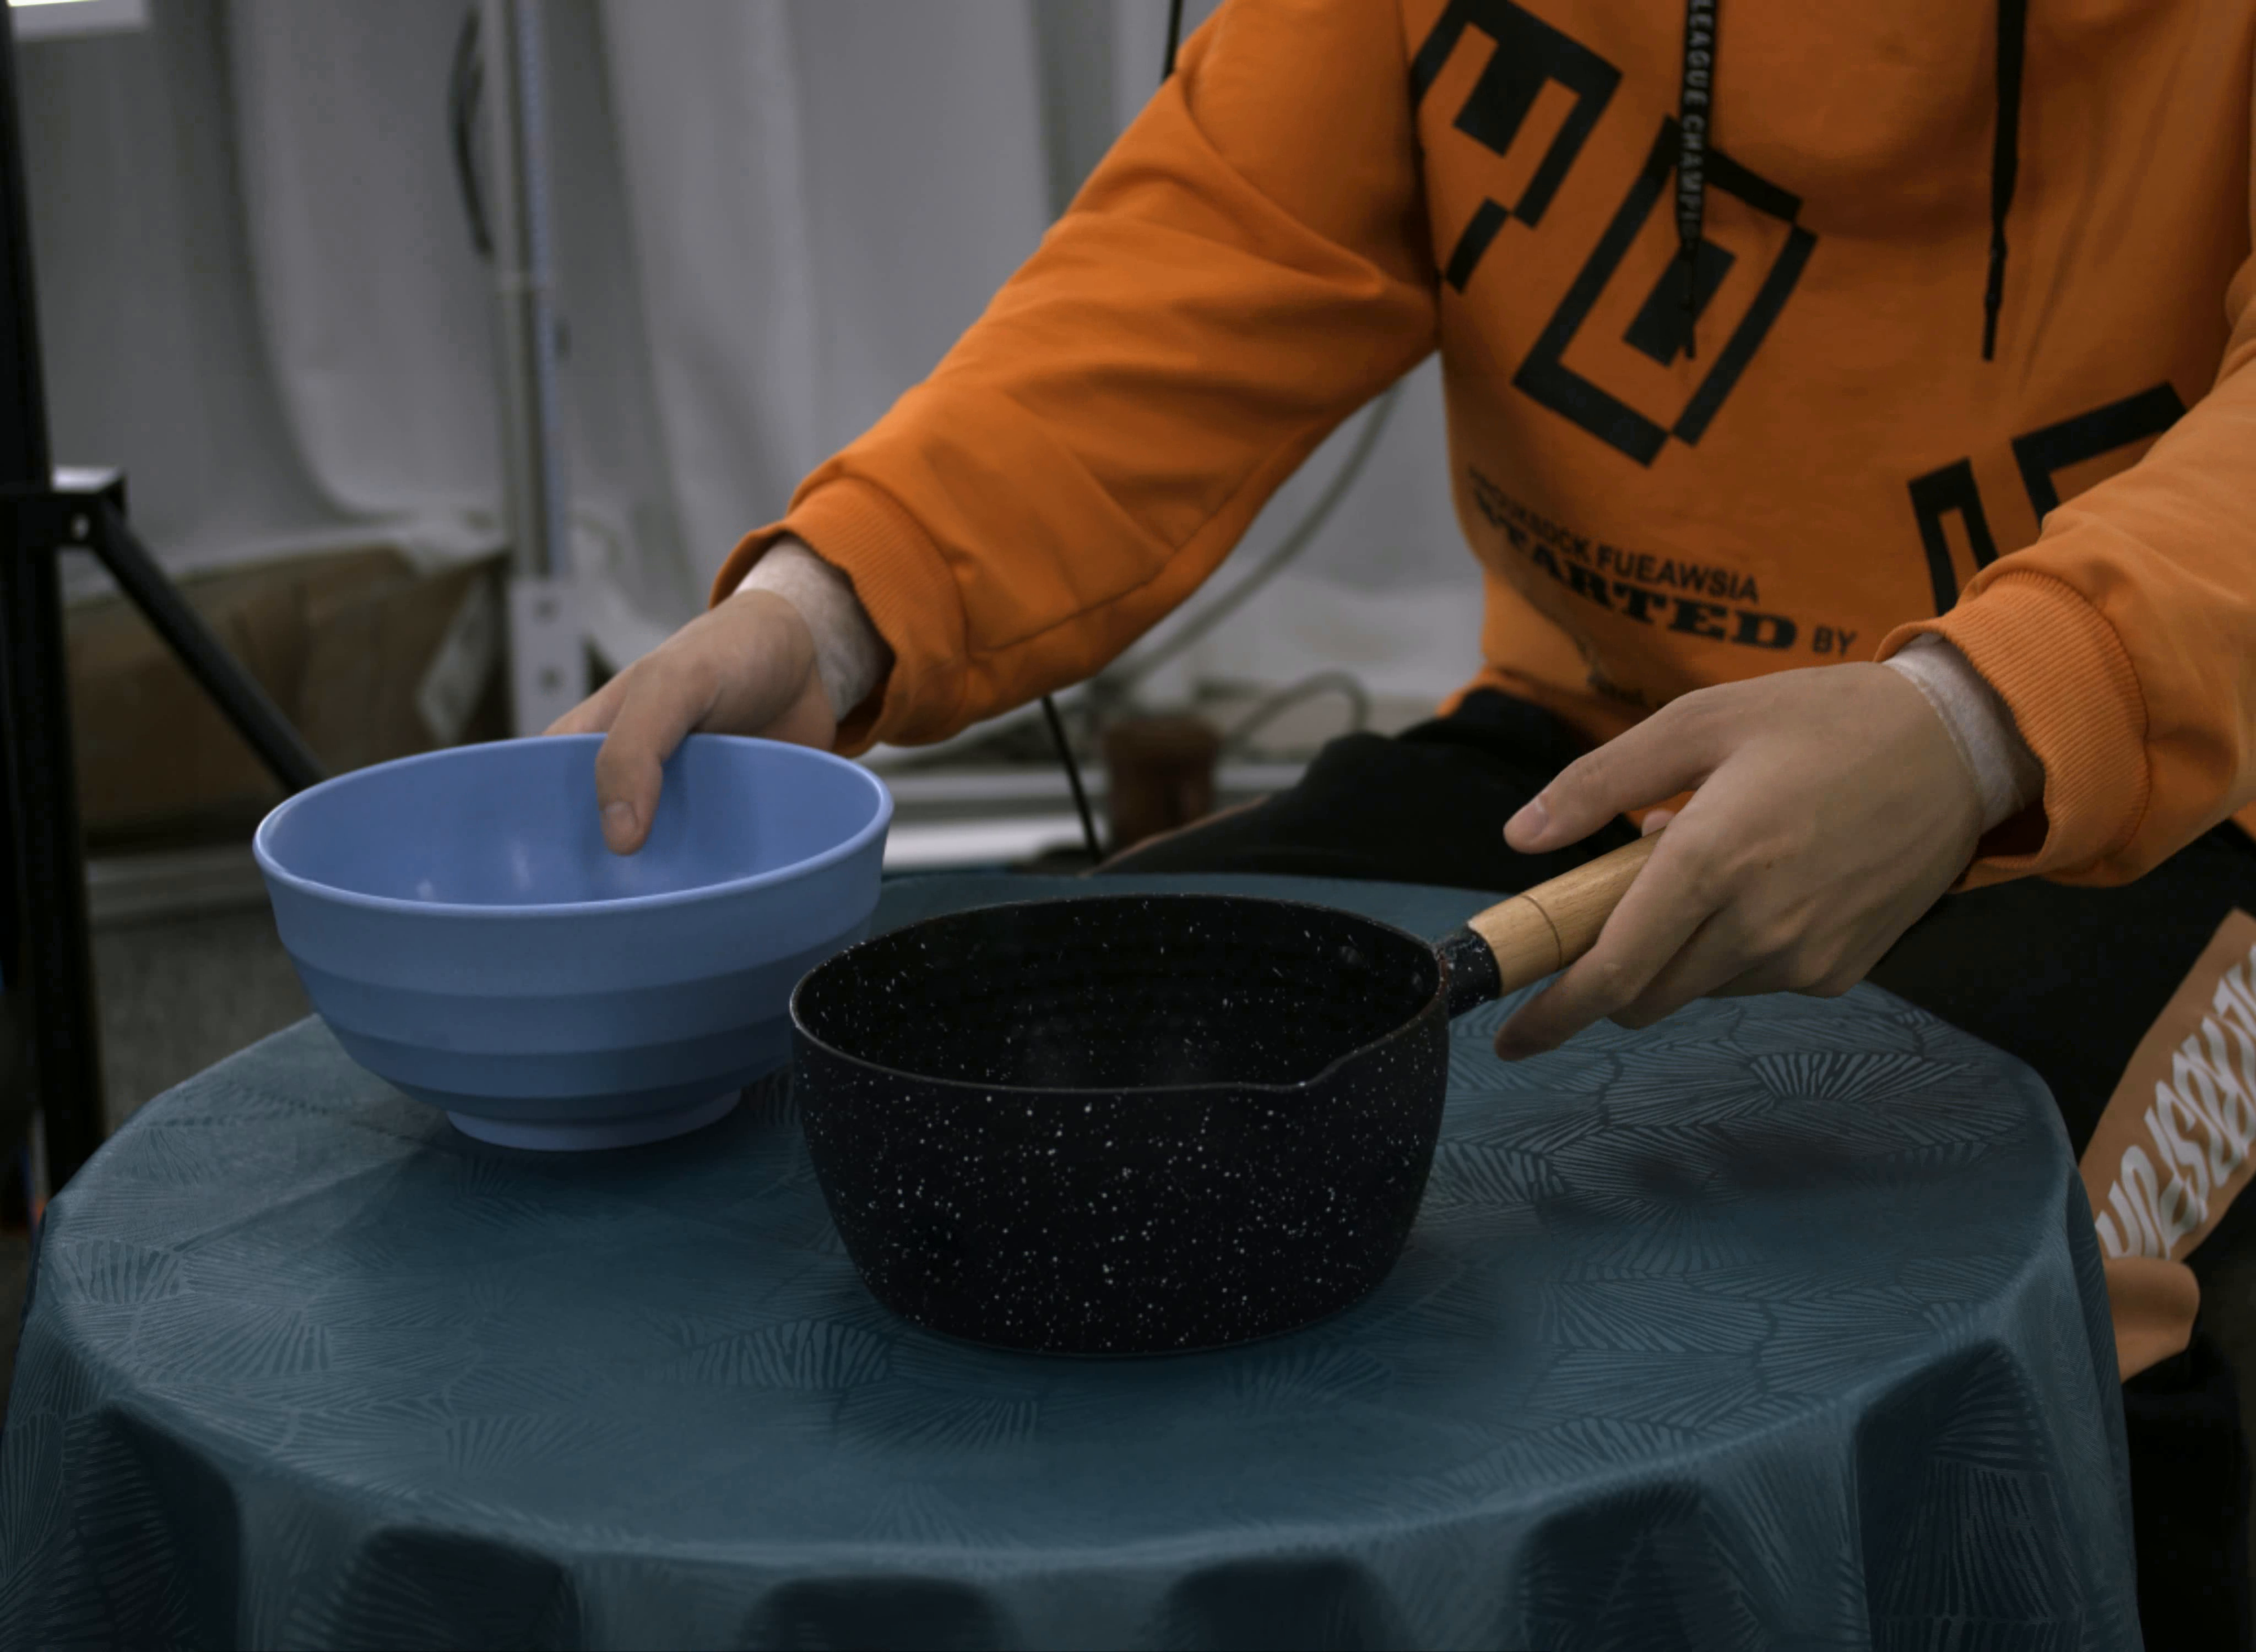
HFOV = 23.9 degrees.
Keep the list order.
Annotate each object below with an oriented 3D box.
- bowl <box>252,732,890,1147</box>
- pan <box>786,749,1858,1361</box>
[{"bbox_3d":[-0.168,0.040,1.650,0.195,0.095,0.197,-4,16,0],"label":"bowl"},{"bbox_3d":[0.067,0.060,1.519,0.335,0.108,0.212,-12,17,-27],"label":"pan"}]
